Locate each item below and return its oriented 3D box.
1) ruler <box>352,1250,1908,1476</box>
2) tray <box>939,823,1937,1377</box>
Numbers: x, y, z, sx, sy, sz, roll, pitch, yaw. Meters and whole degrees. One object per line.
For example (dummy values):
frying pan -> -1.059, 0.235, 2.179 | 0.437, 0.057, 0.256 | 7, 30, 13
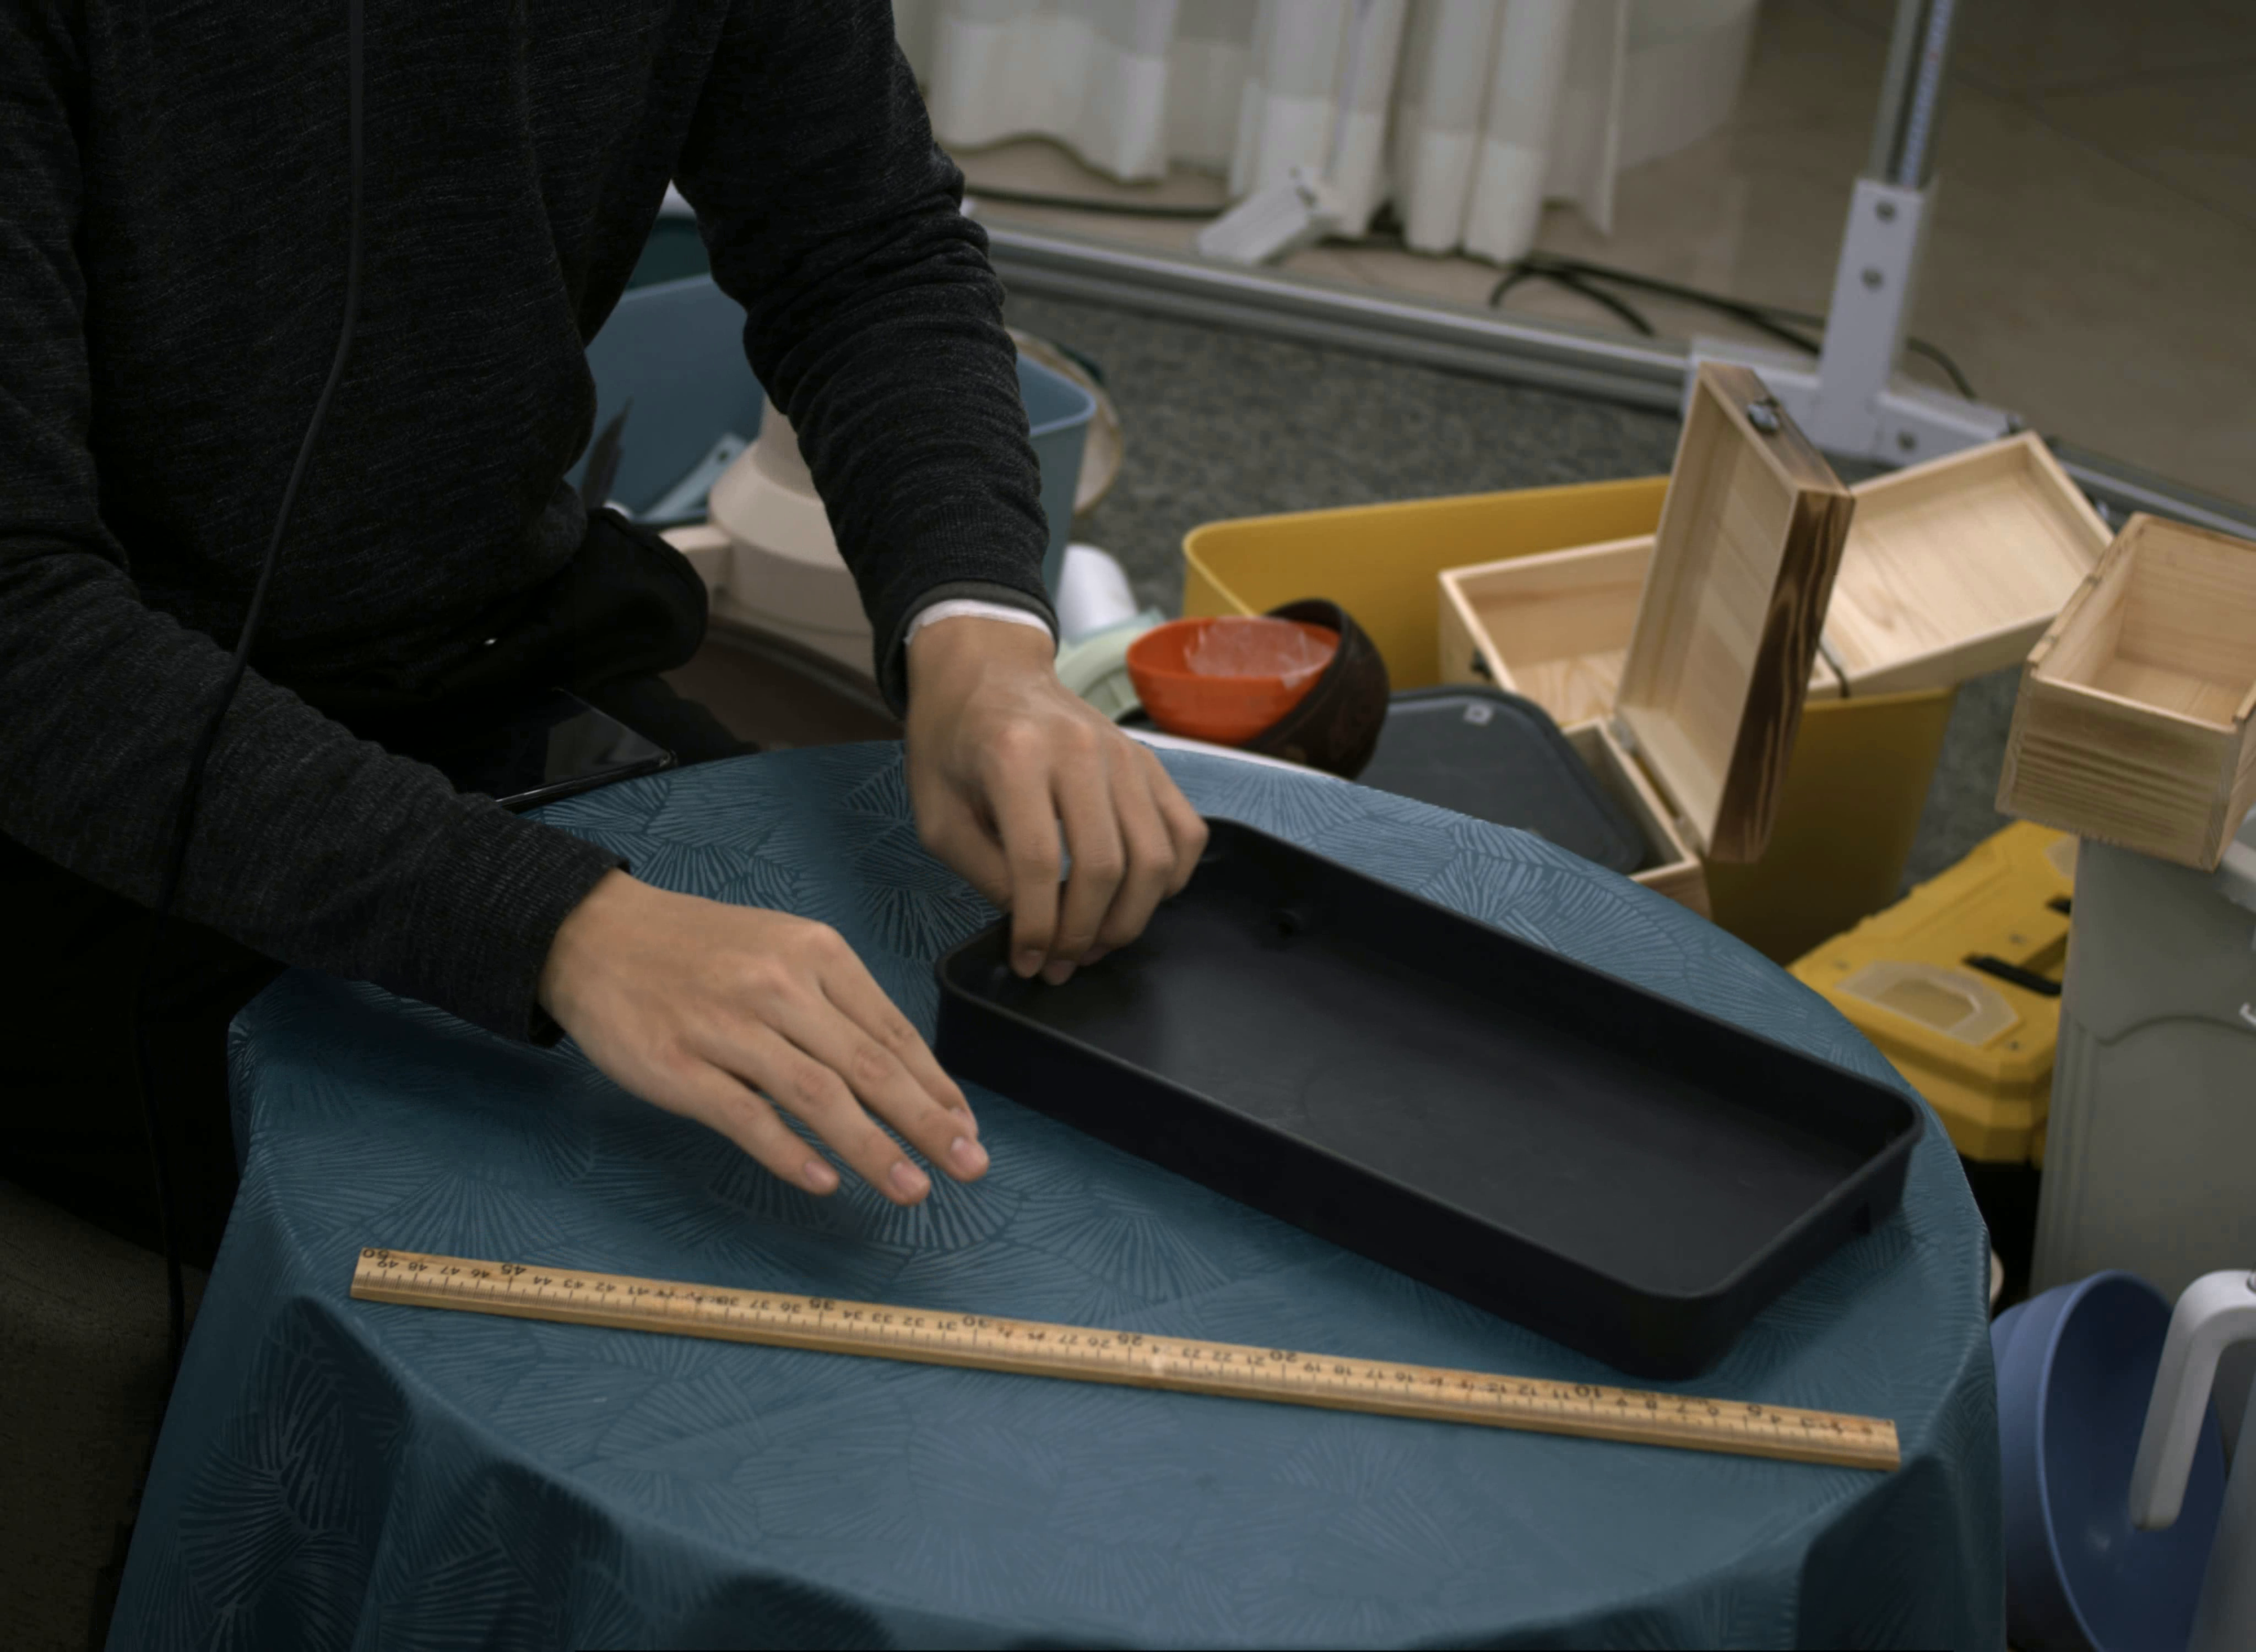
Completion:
ruler -> 0.001, 0.171, 1.703 | 0.499, 0.006, 0.027 | 7, 24, 0
tray -> 0.105, 0.090, 1.852 | 0.319, 0.037, 0.184 | 20, 30, 26
